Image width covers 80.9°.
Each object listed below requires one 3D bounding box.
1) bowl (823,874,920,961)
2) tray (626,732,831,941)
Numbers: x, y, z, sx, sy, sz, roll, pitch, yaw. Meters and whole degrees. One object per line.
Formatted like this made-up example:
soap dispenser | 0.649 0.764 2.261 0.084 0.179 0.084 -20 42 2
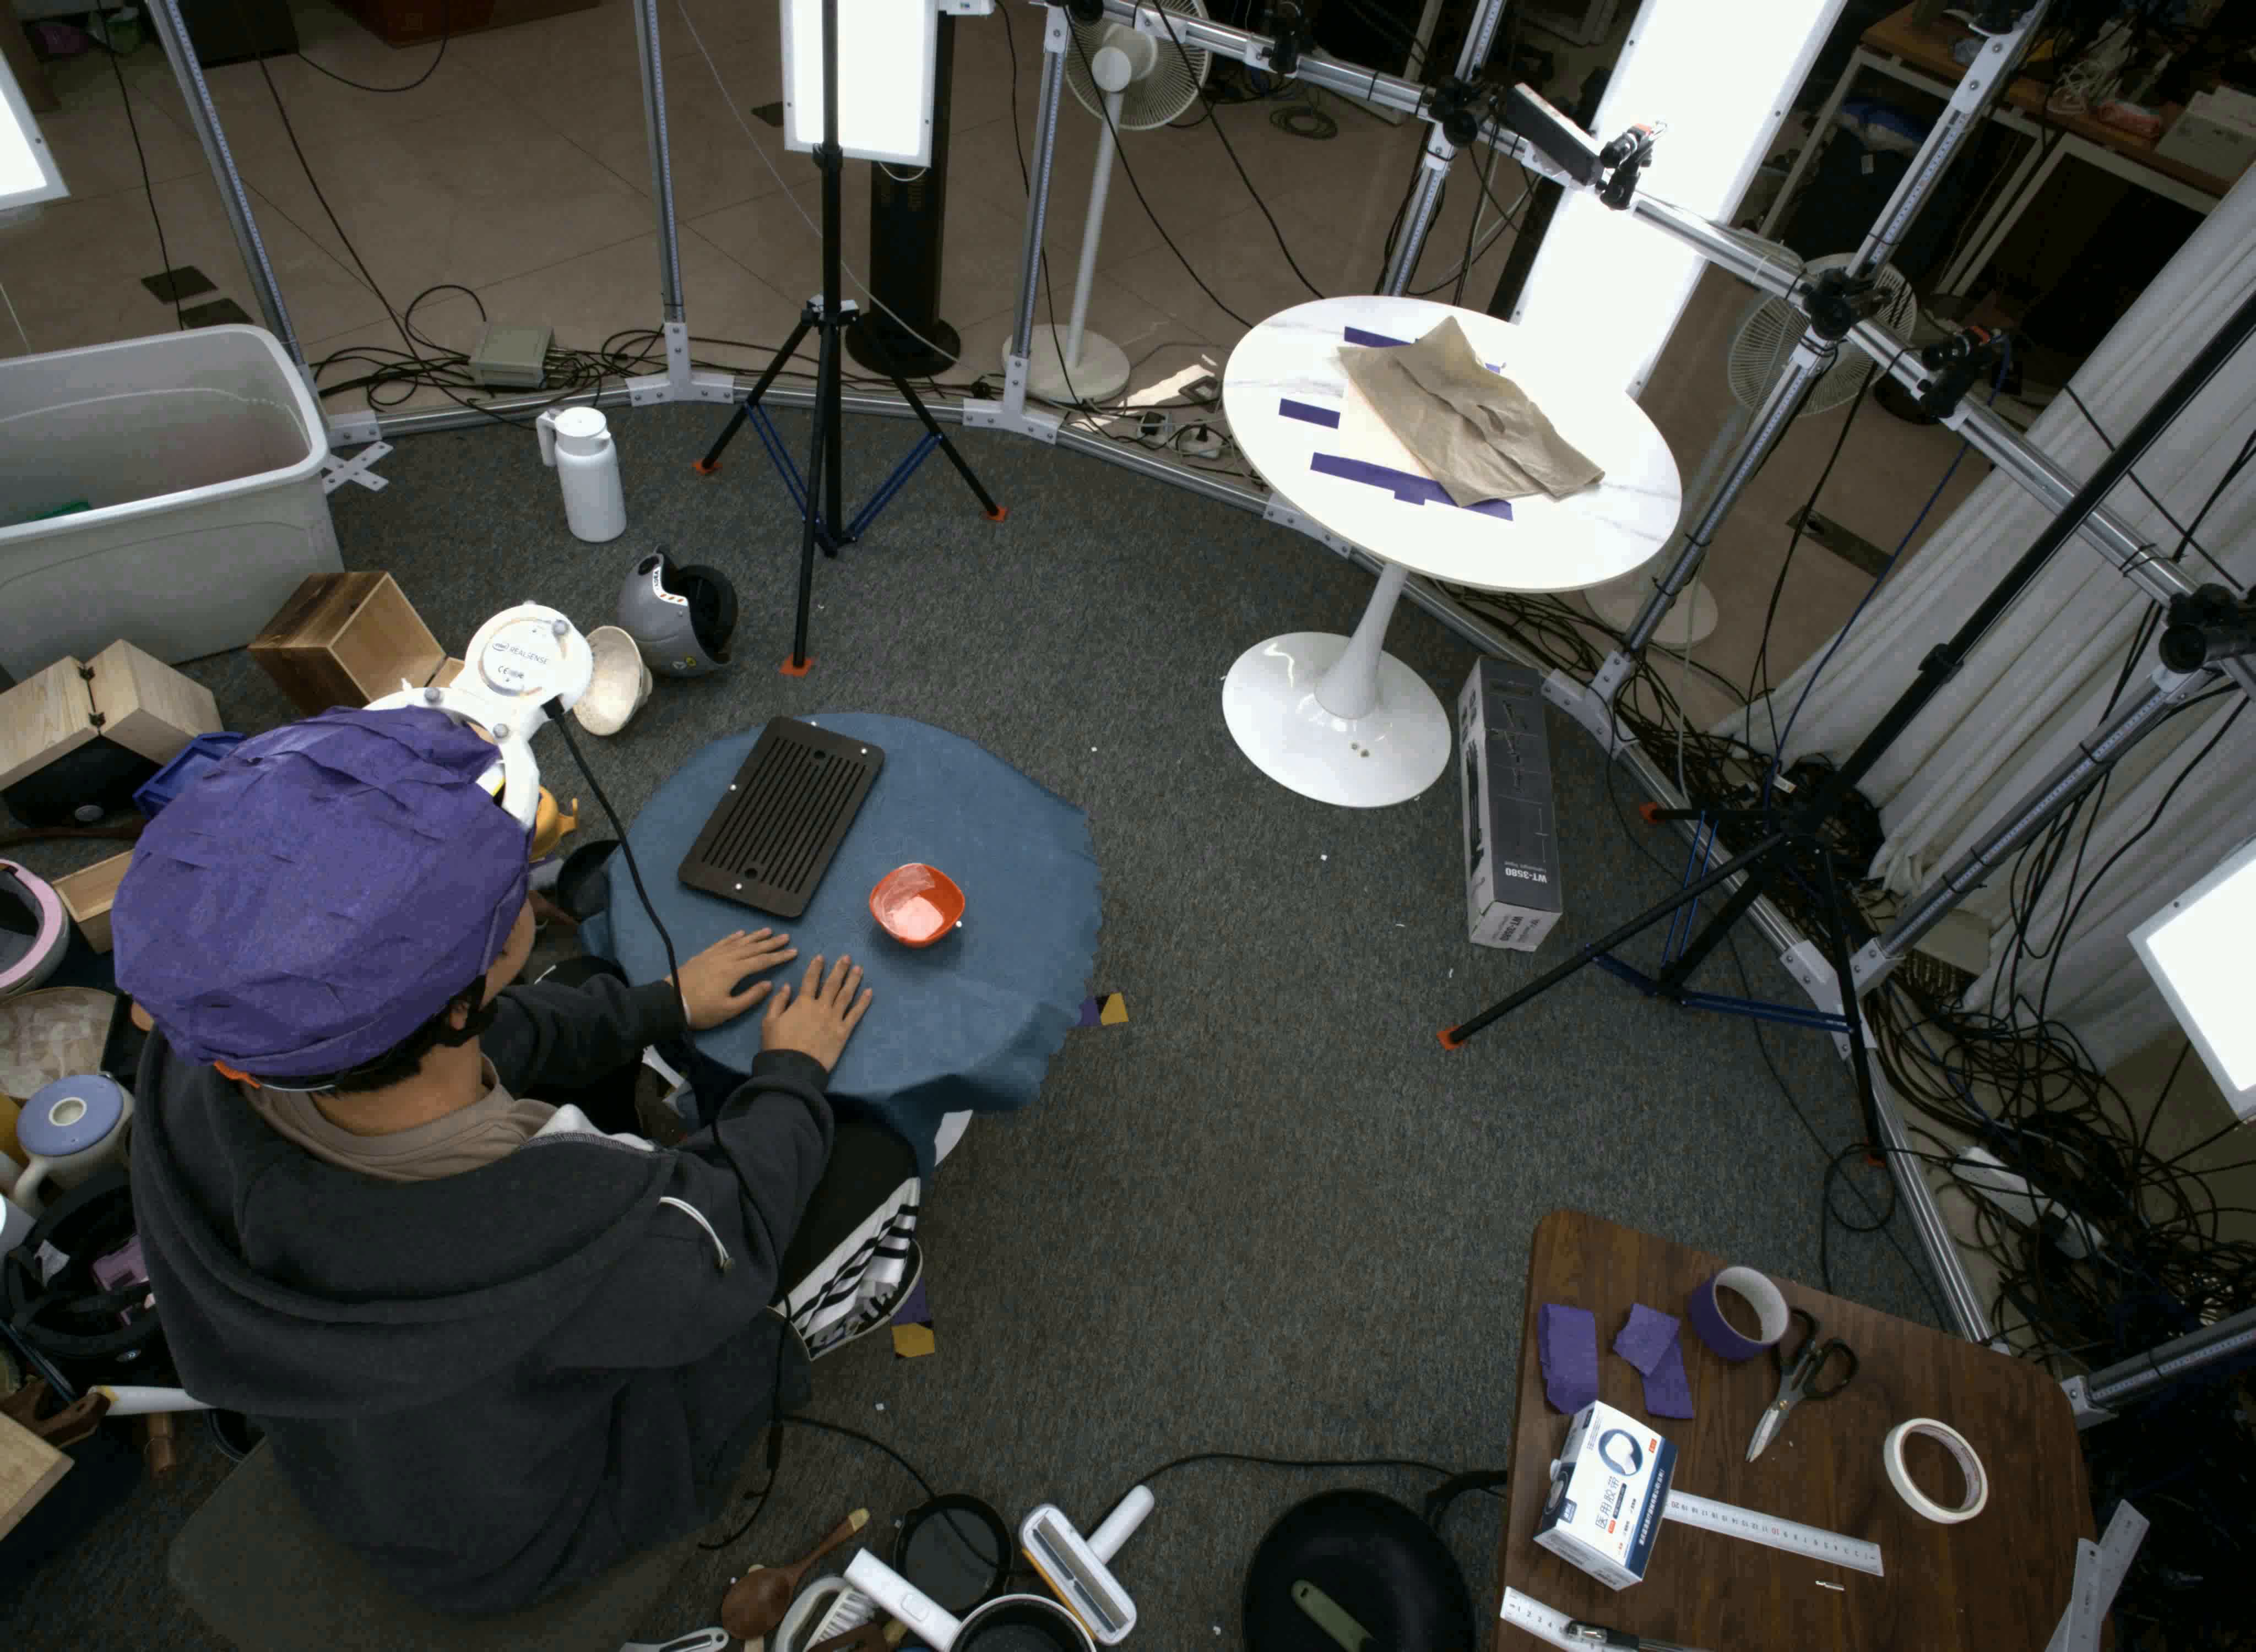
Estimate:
bowl | -0.322 0.122 1.629 0.119 0.052 0.117 9 51 -9
tray | -0.517 0.007 1.688 0.169 0.019 0.302 16 52 -2
